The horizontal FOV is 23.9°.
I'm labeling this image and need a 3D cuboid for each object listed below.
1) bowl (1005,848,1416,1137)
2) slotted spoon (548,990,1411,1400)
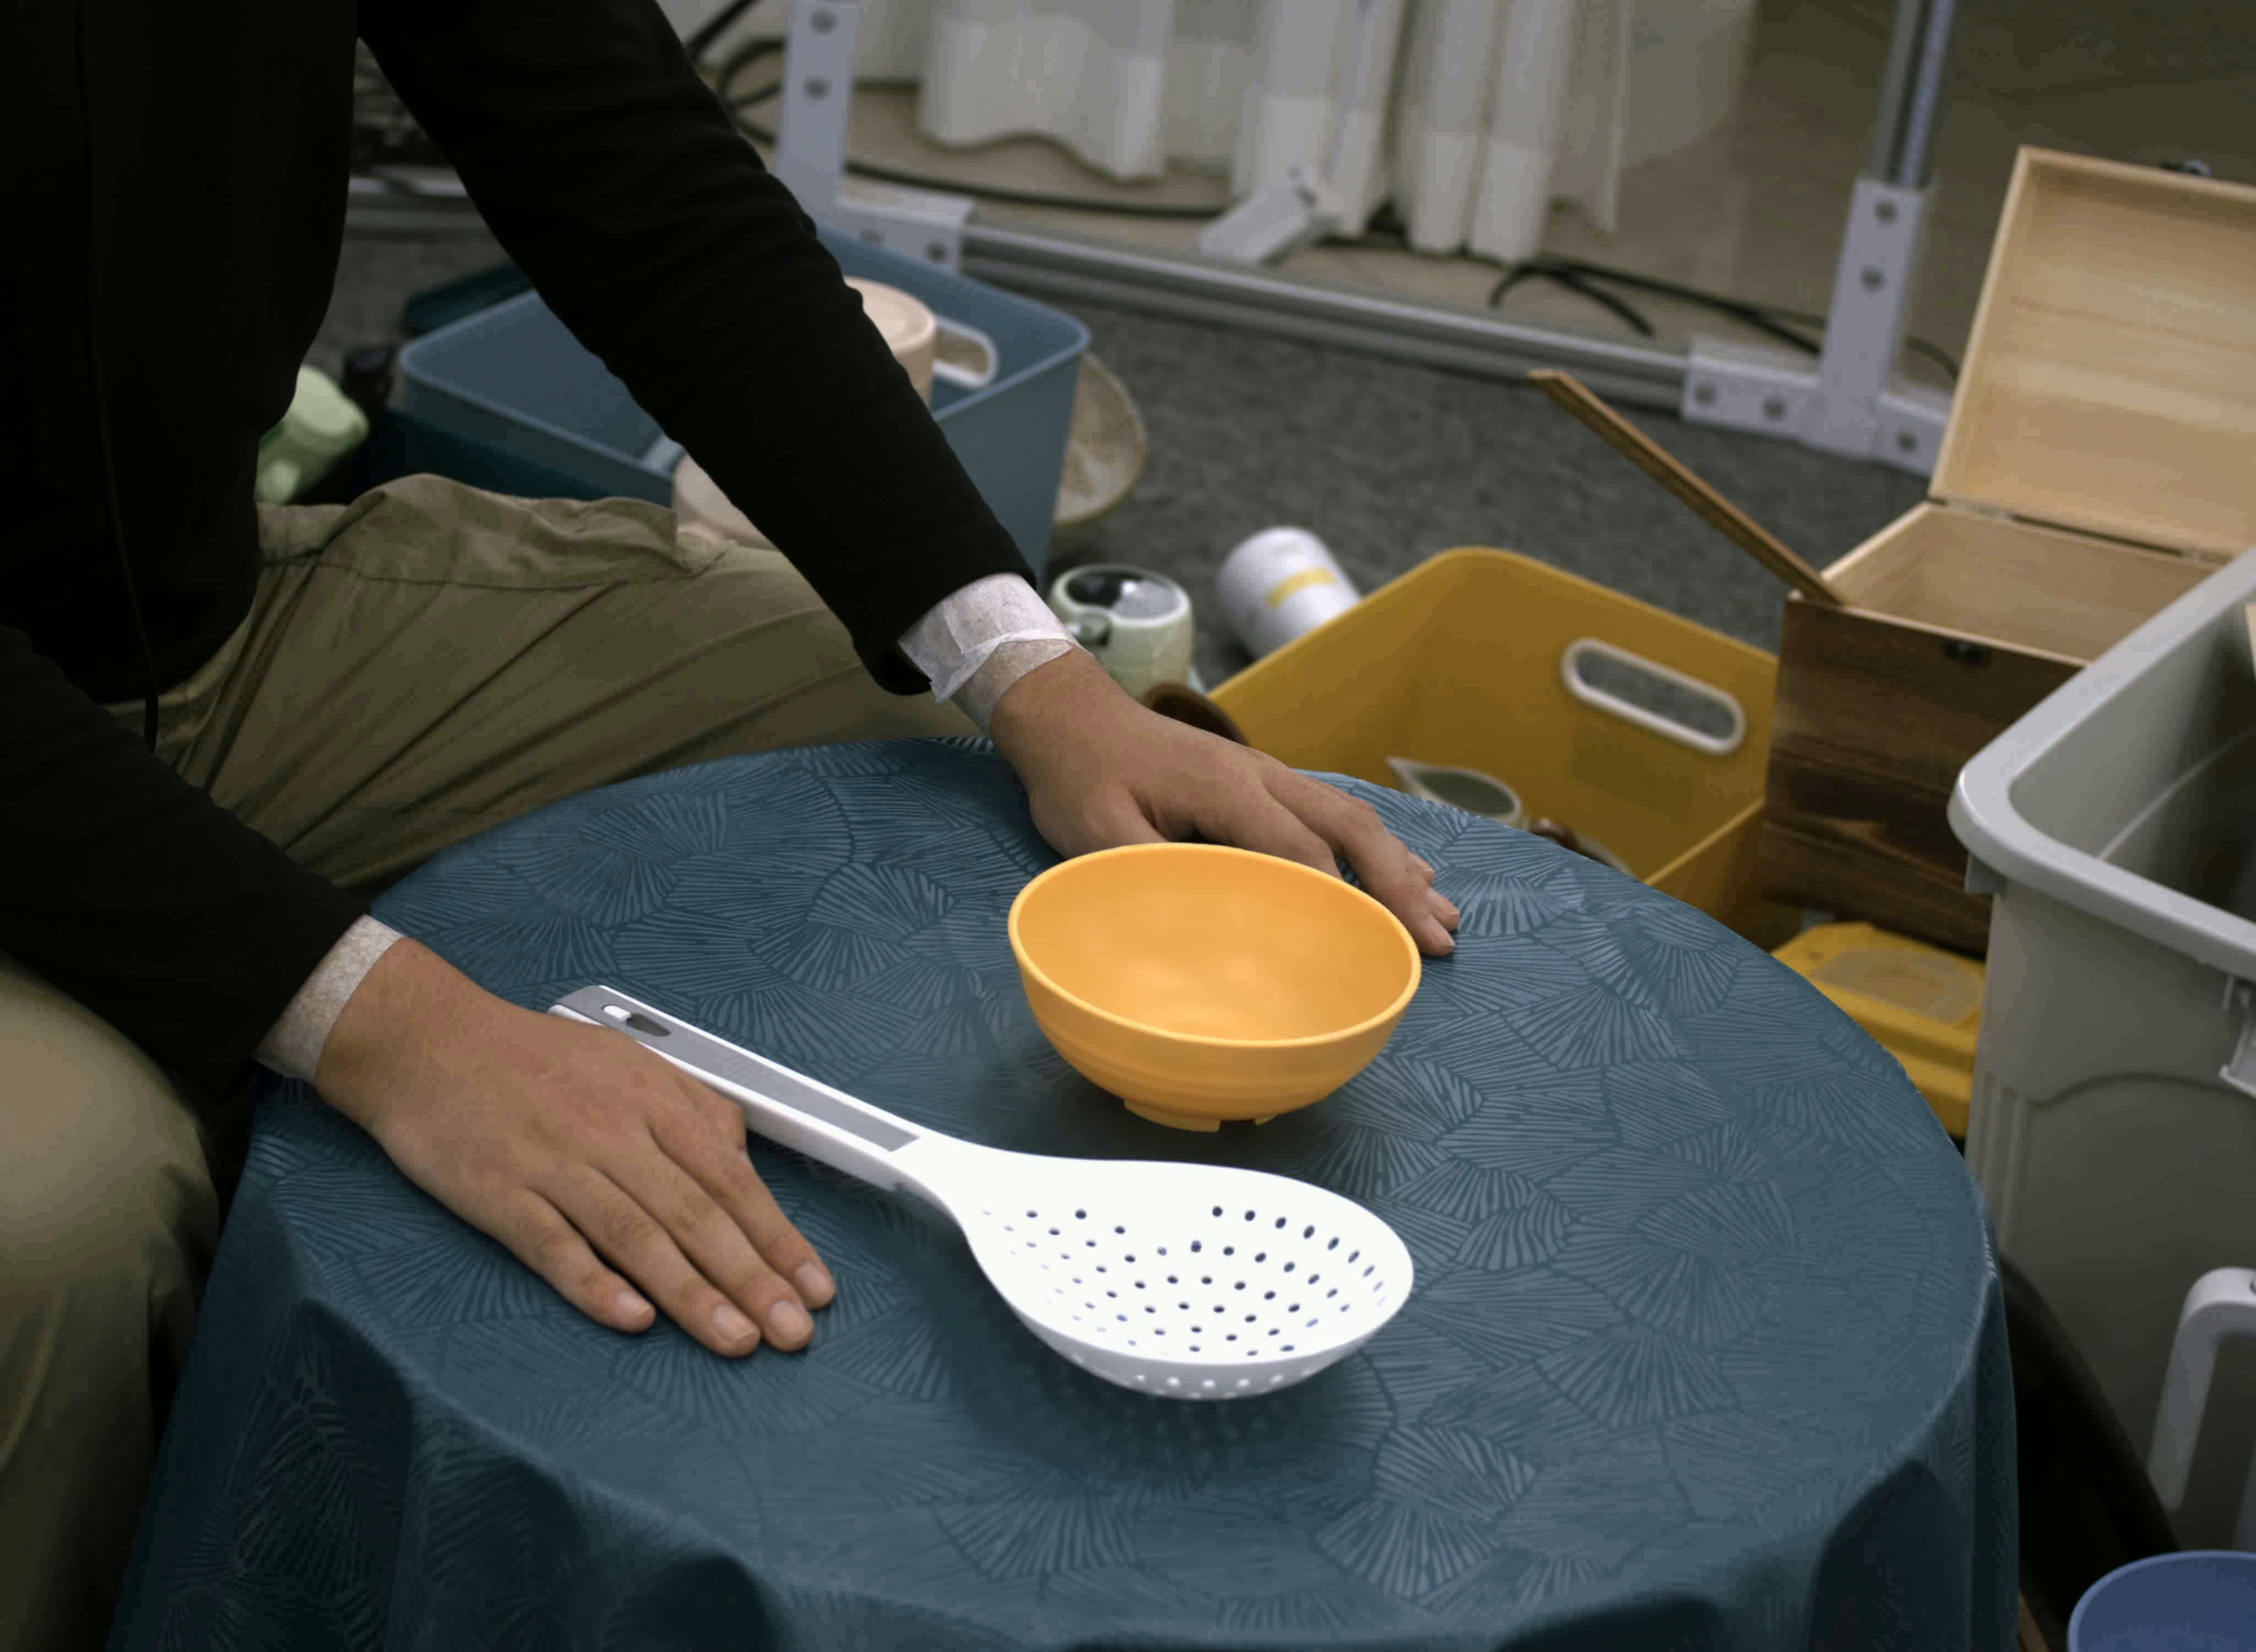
[{"bbox_3d":[0.025,0.067,1.858,0.145,0.060,0.146,7,26,-4],"label":"bowl"},{"bbox_3d":[-0.061,0.115,1.755,0.352,0.045,0.135,25,31,33],"label":"slotted spoon"}]
